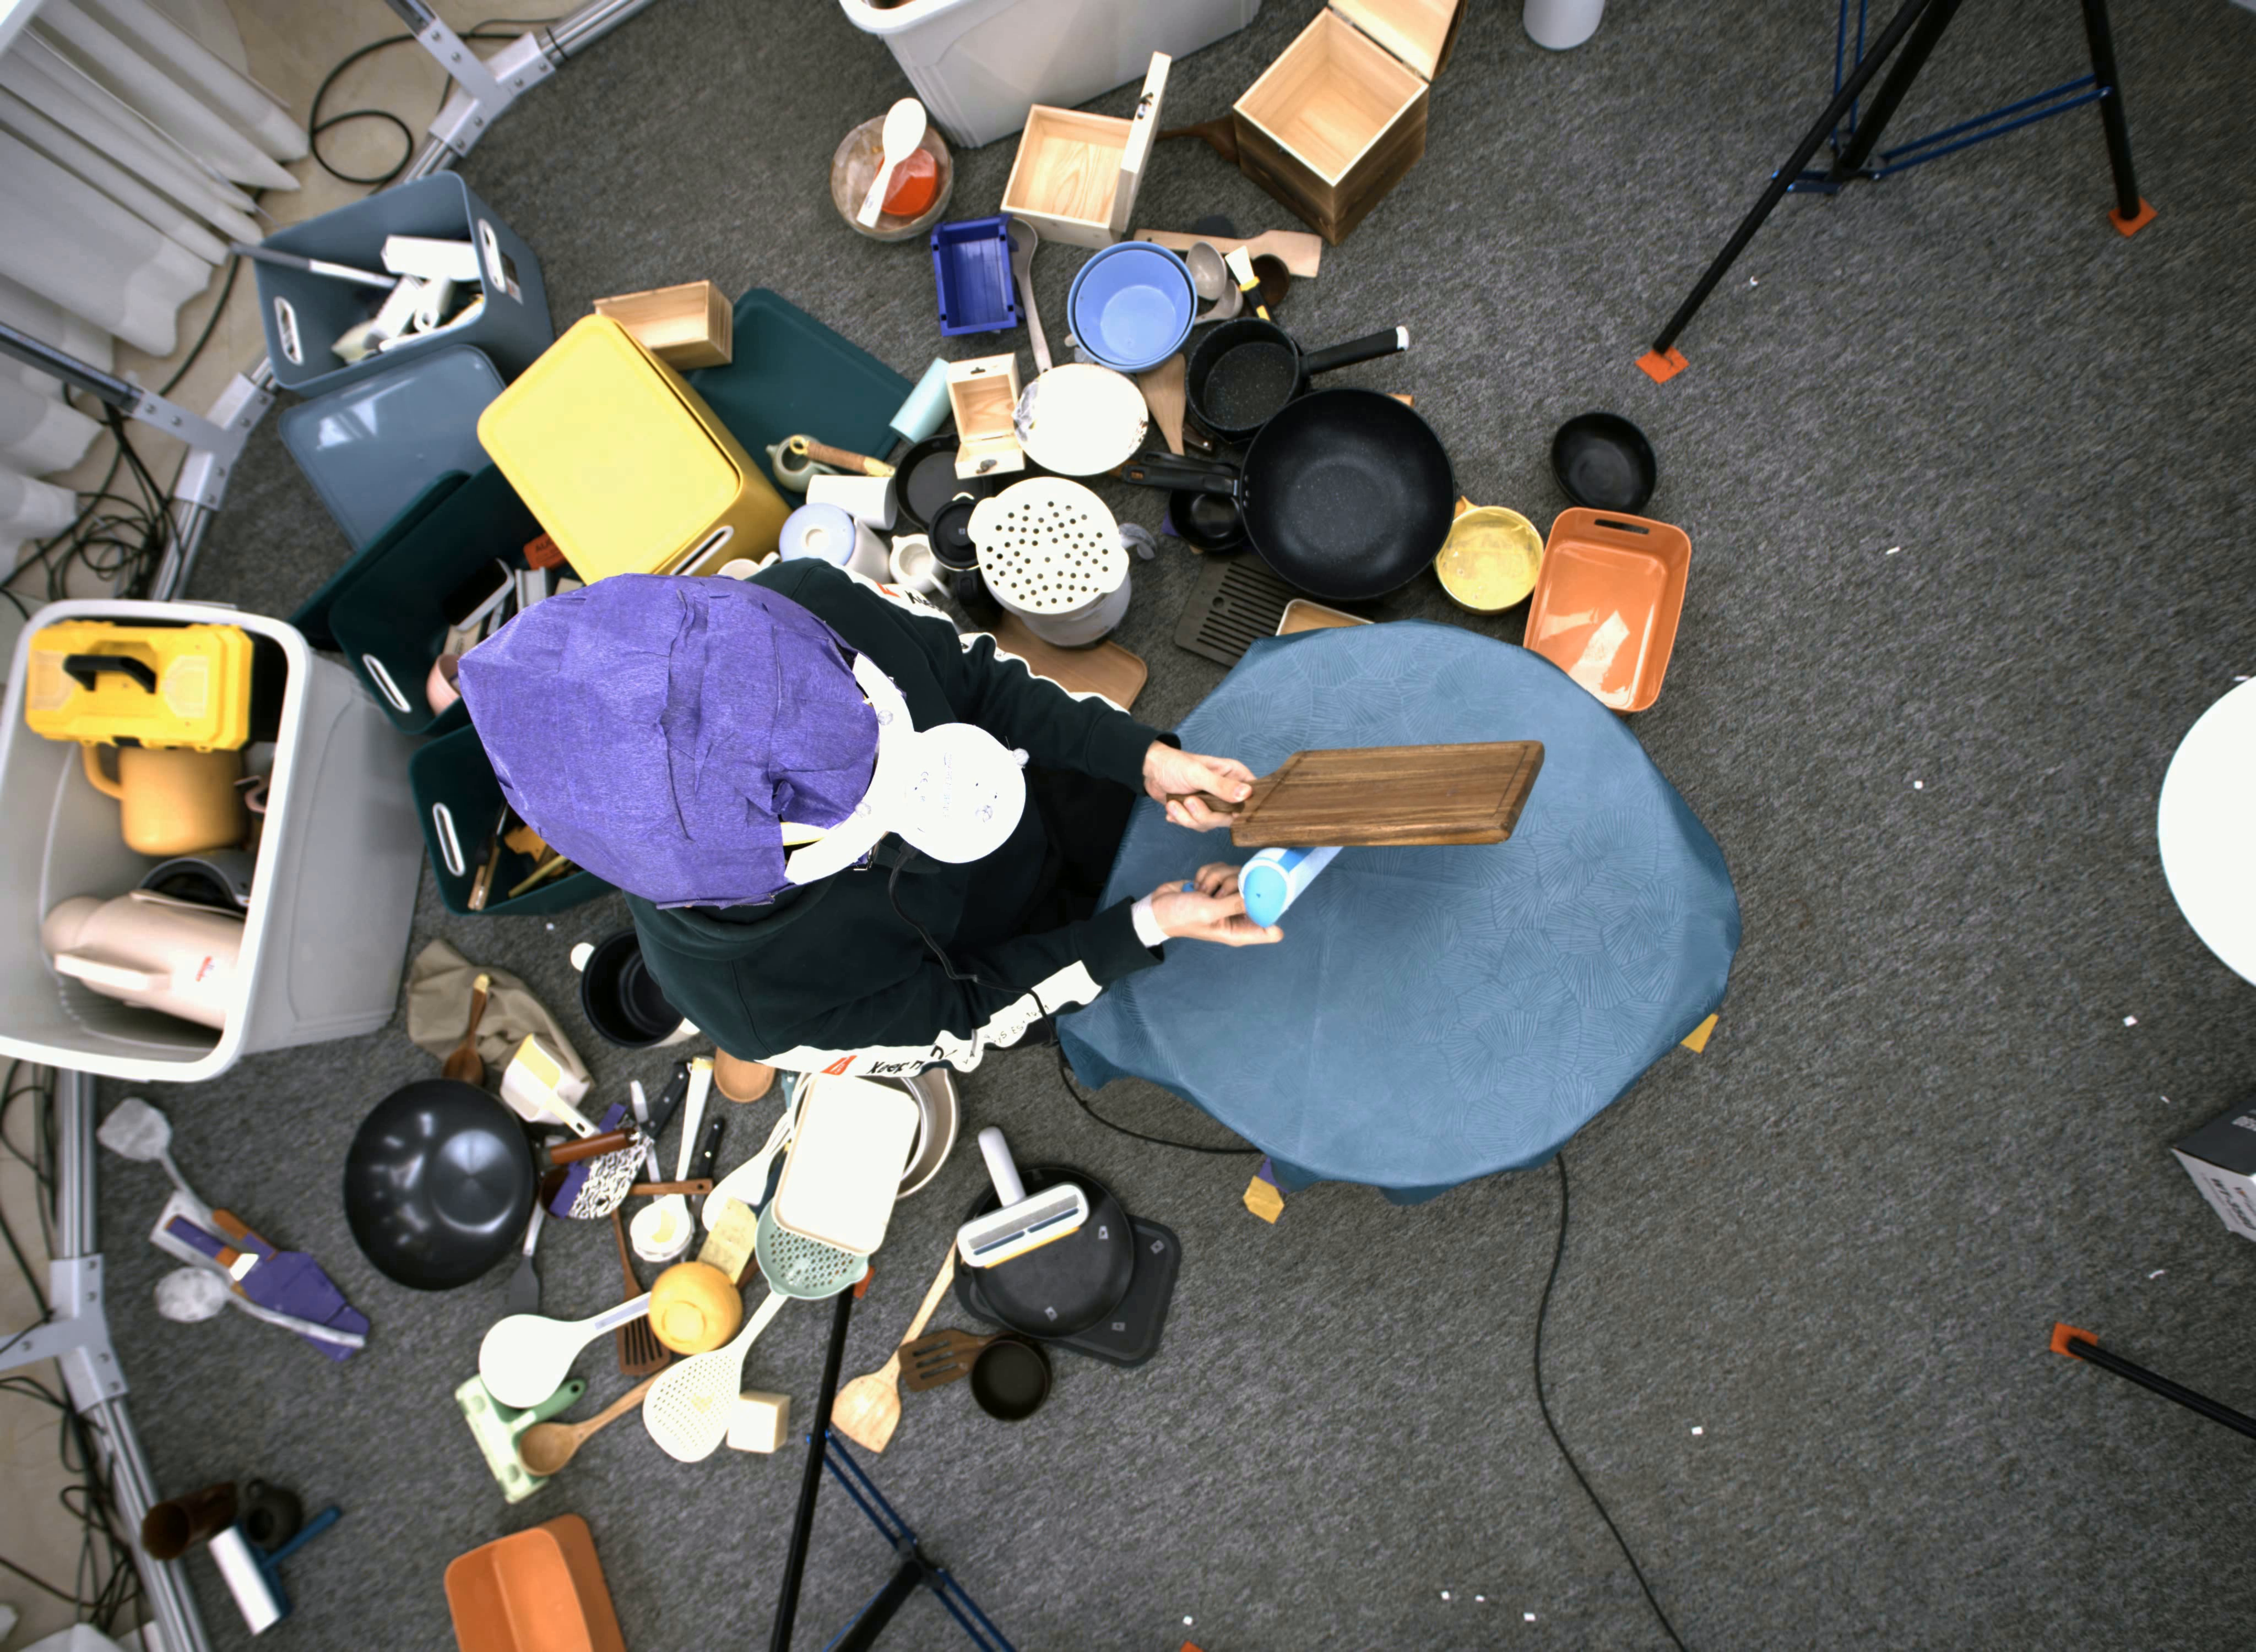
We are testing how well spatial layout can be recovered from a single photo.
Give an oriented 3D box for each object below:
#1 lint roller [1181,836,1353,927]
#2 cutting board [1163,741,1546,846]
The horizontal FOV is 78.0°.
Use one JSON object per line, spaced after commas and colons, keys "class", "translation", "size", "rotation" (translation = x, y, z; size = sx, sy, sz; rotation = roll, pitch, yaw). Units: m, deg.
{"class": "lint roller", "translation": [0.131, 0.041, 1.324], "size": [0.184, 0.224, 0.068], "rotation": [-34, 94, 42]}
{"class": "cutting board", "translation": [0.196, -0.031, 1.277], "size": [0.355, 0.196, 0.023], "rotation": [-1, 114, 27]}
